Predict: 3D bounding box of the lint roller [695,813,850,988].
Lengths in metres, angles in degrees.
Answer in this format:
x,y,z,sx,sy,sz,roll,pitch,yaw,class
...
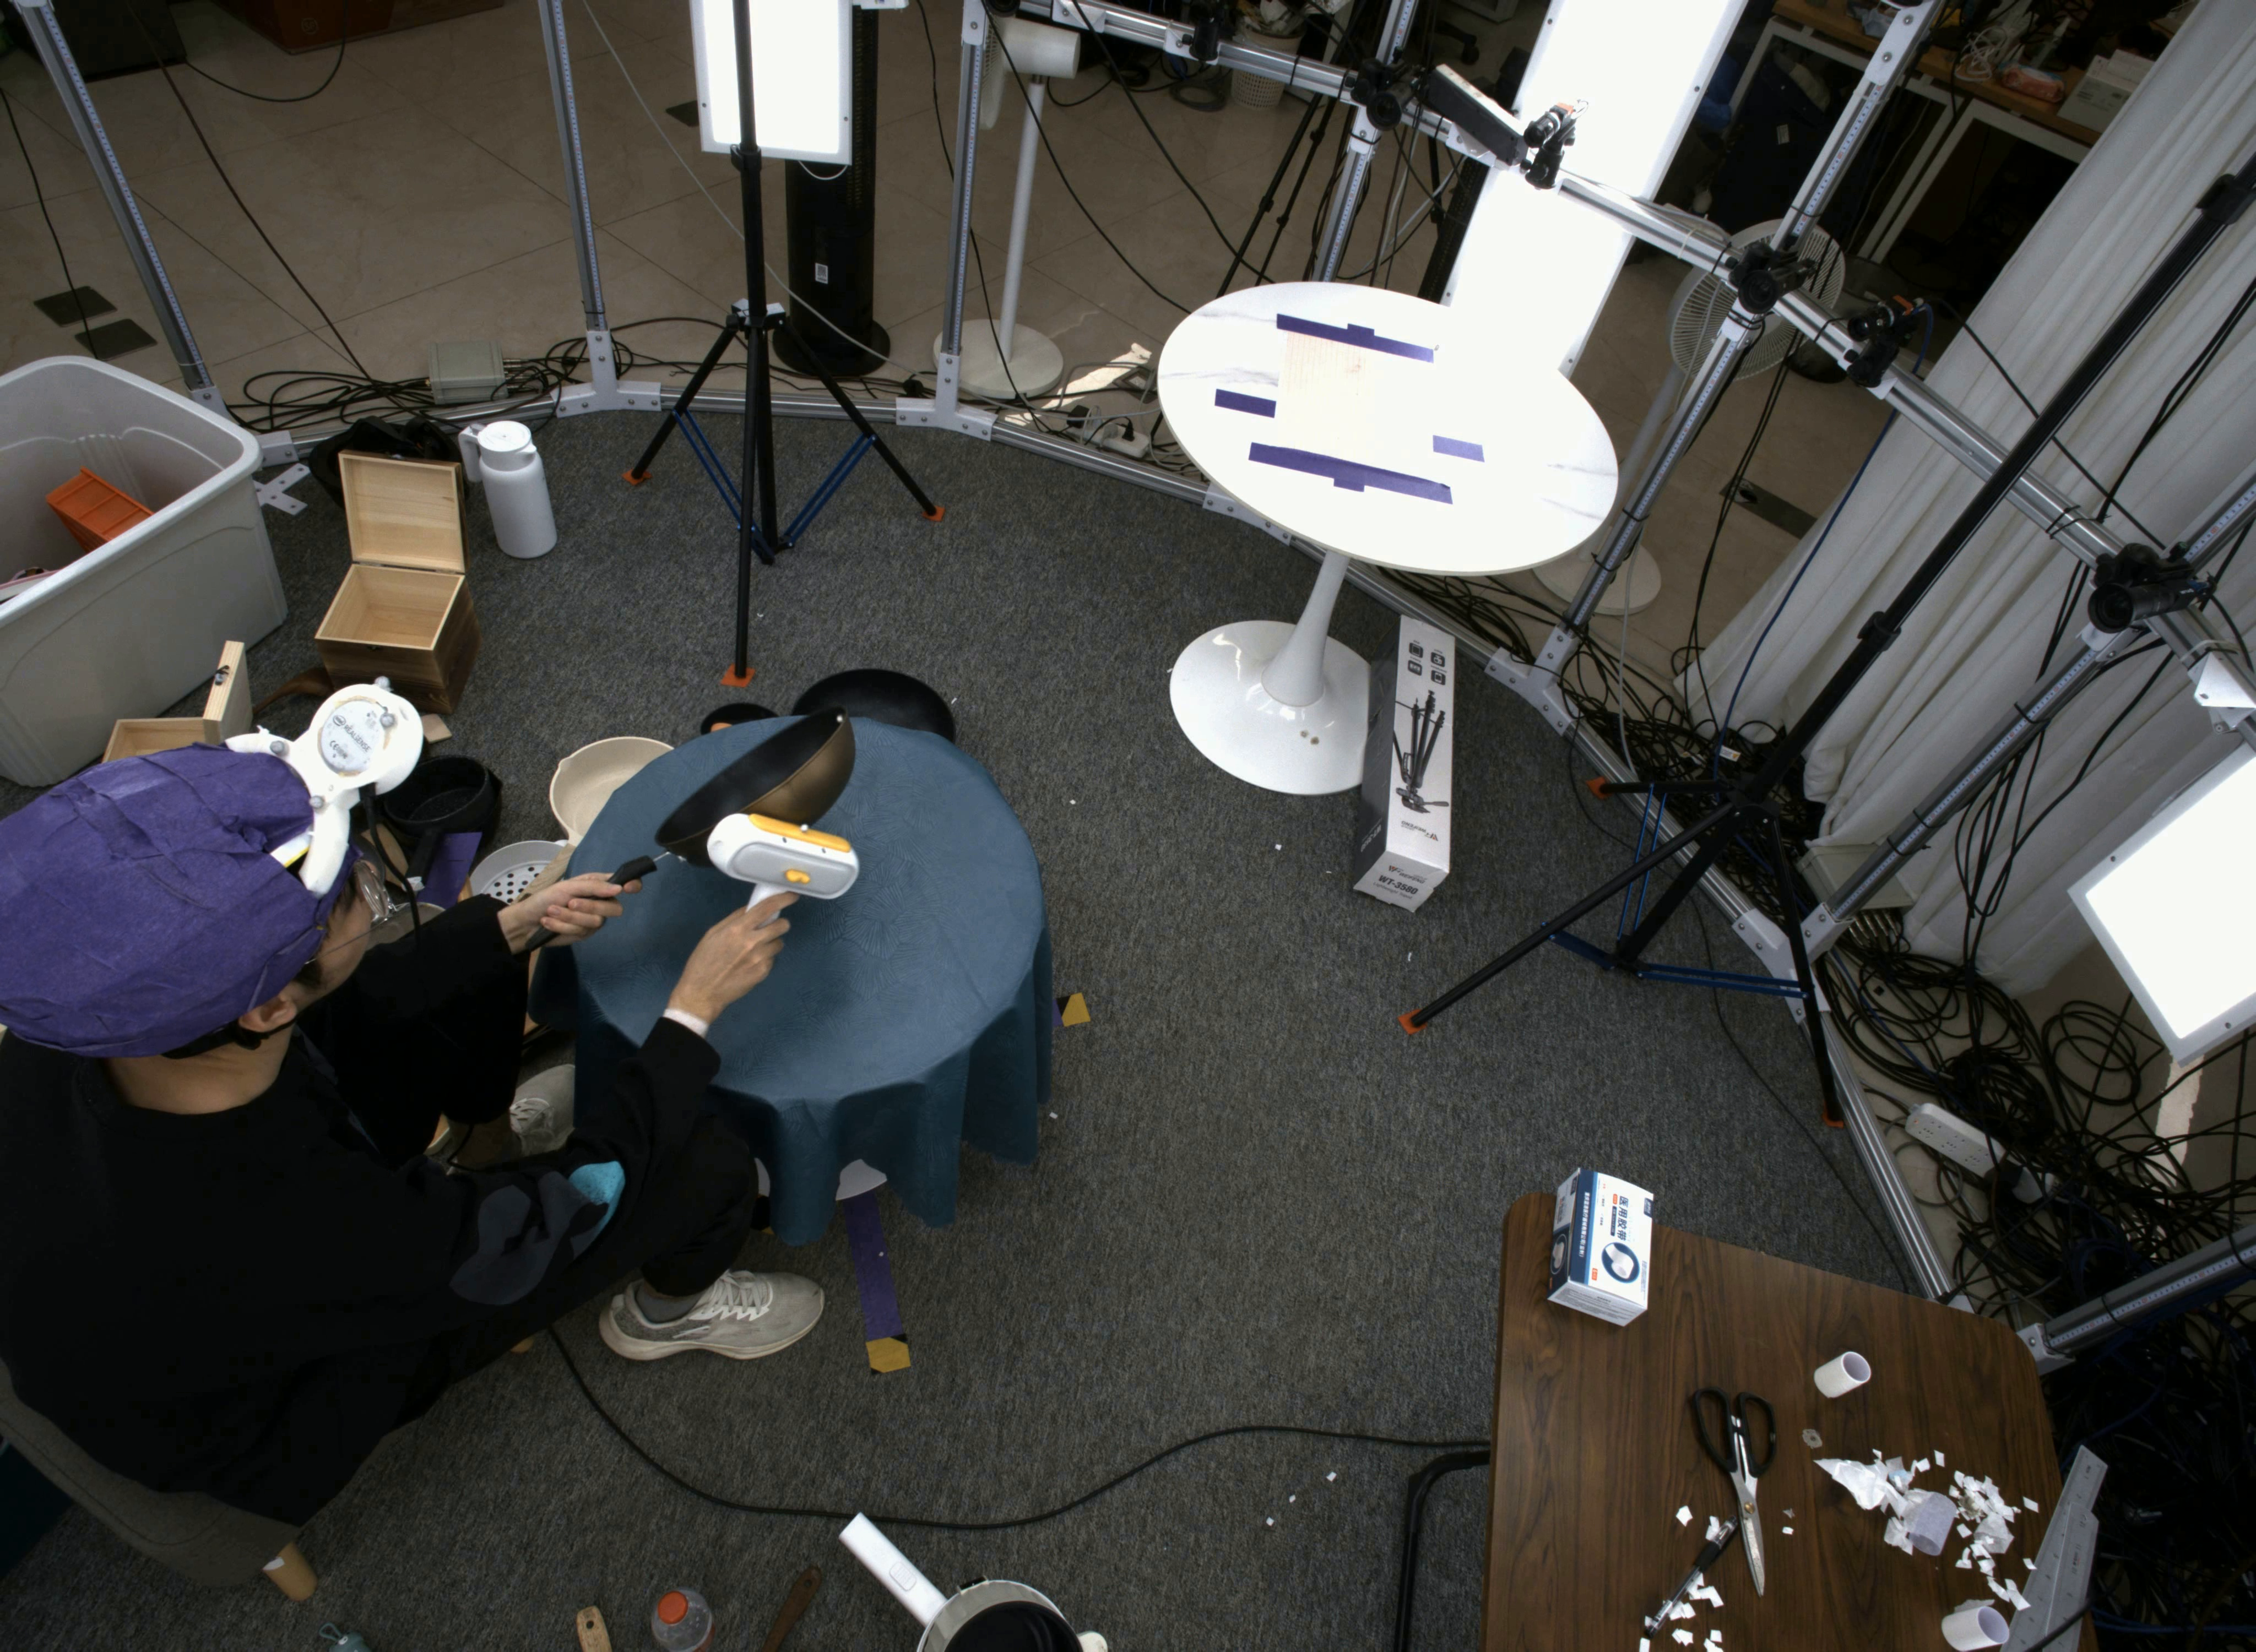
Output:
x,y,z,sx,sy,sz,roll,pitch,yaw,class
-0.419,0.087,1.471,0.071,0.194,0.198,35,12,31,lint roller

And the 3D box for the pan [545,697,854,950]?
x,y,z,sx,sy,sz,roll,pitch,yaw,class
-0.500,0.017,1.538,0.463,0.279,0.089,-42,114,-19,pan
